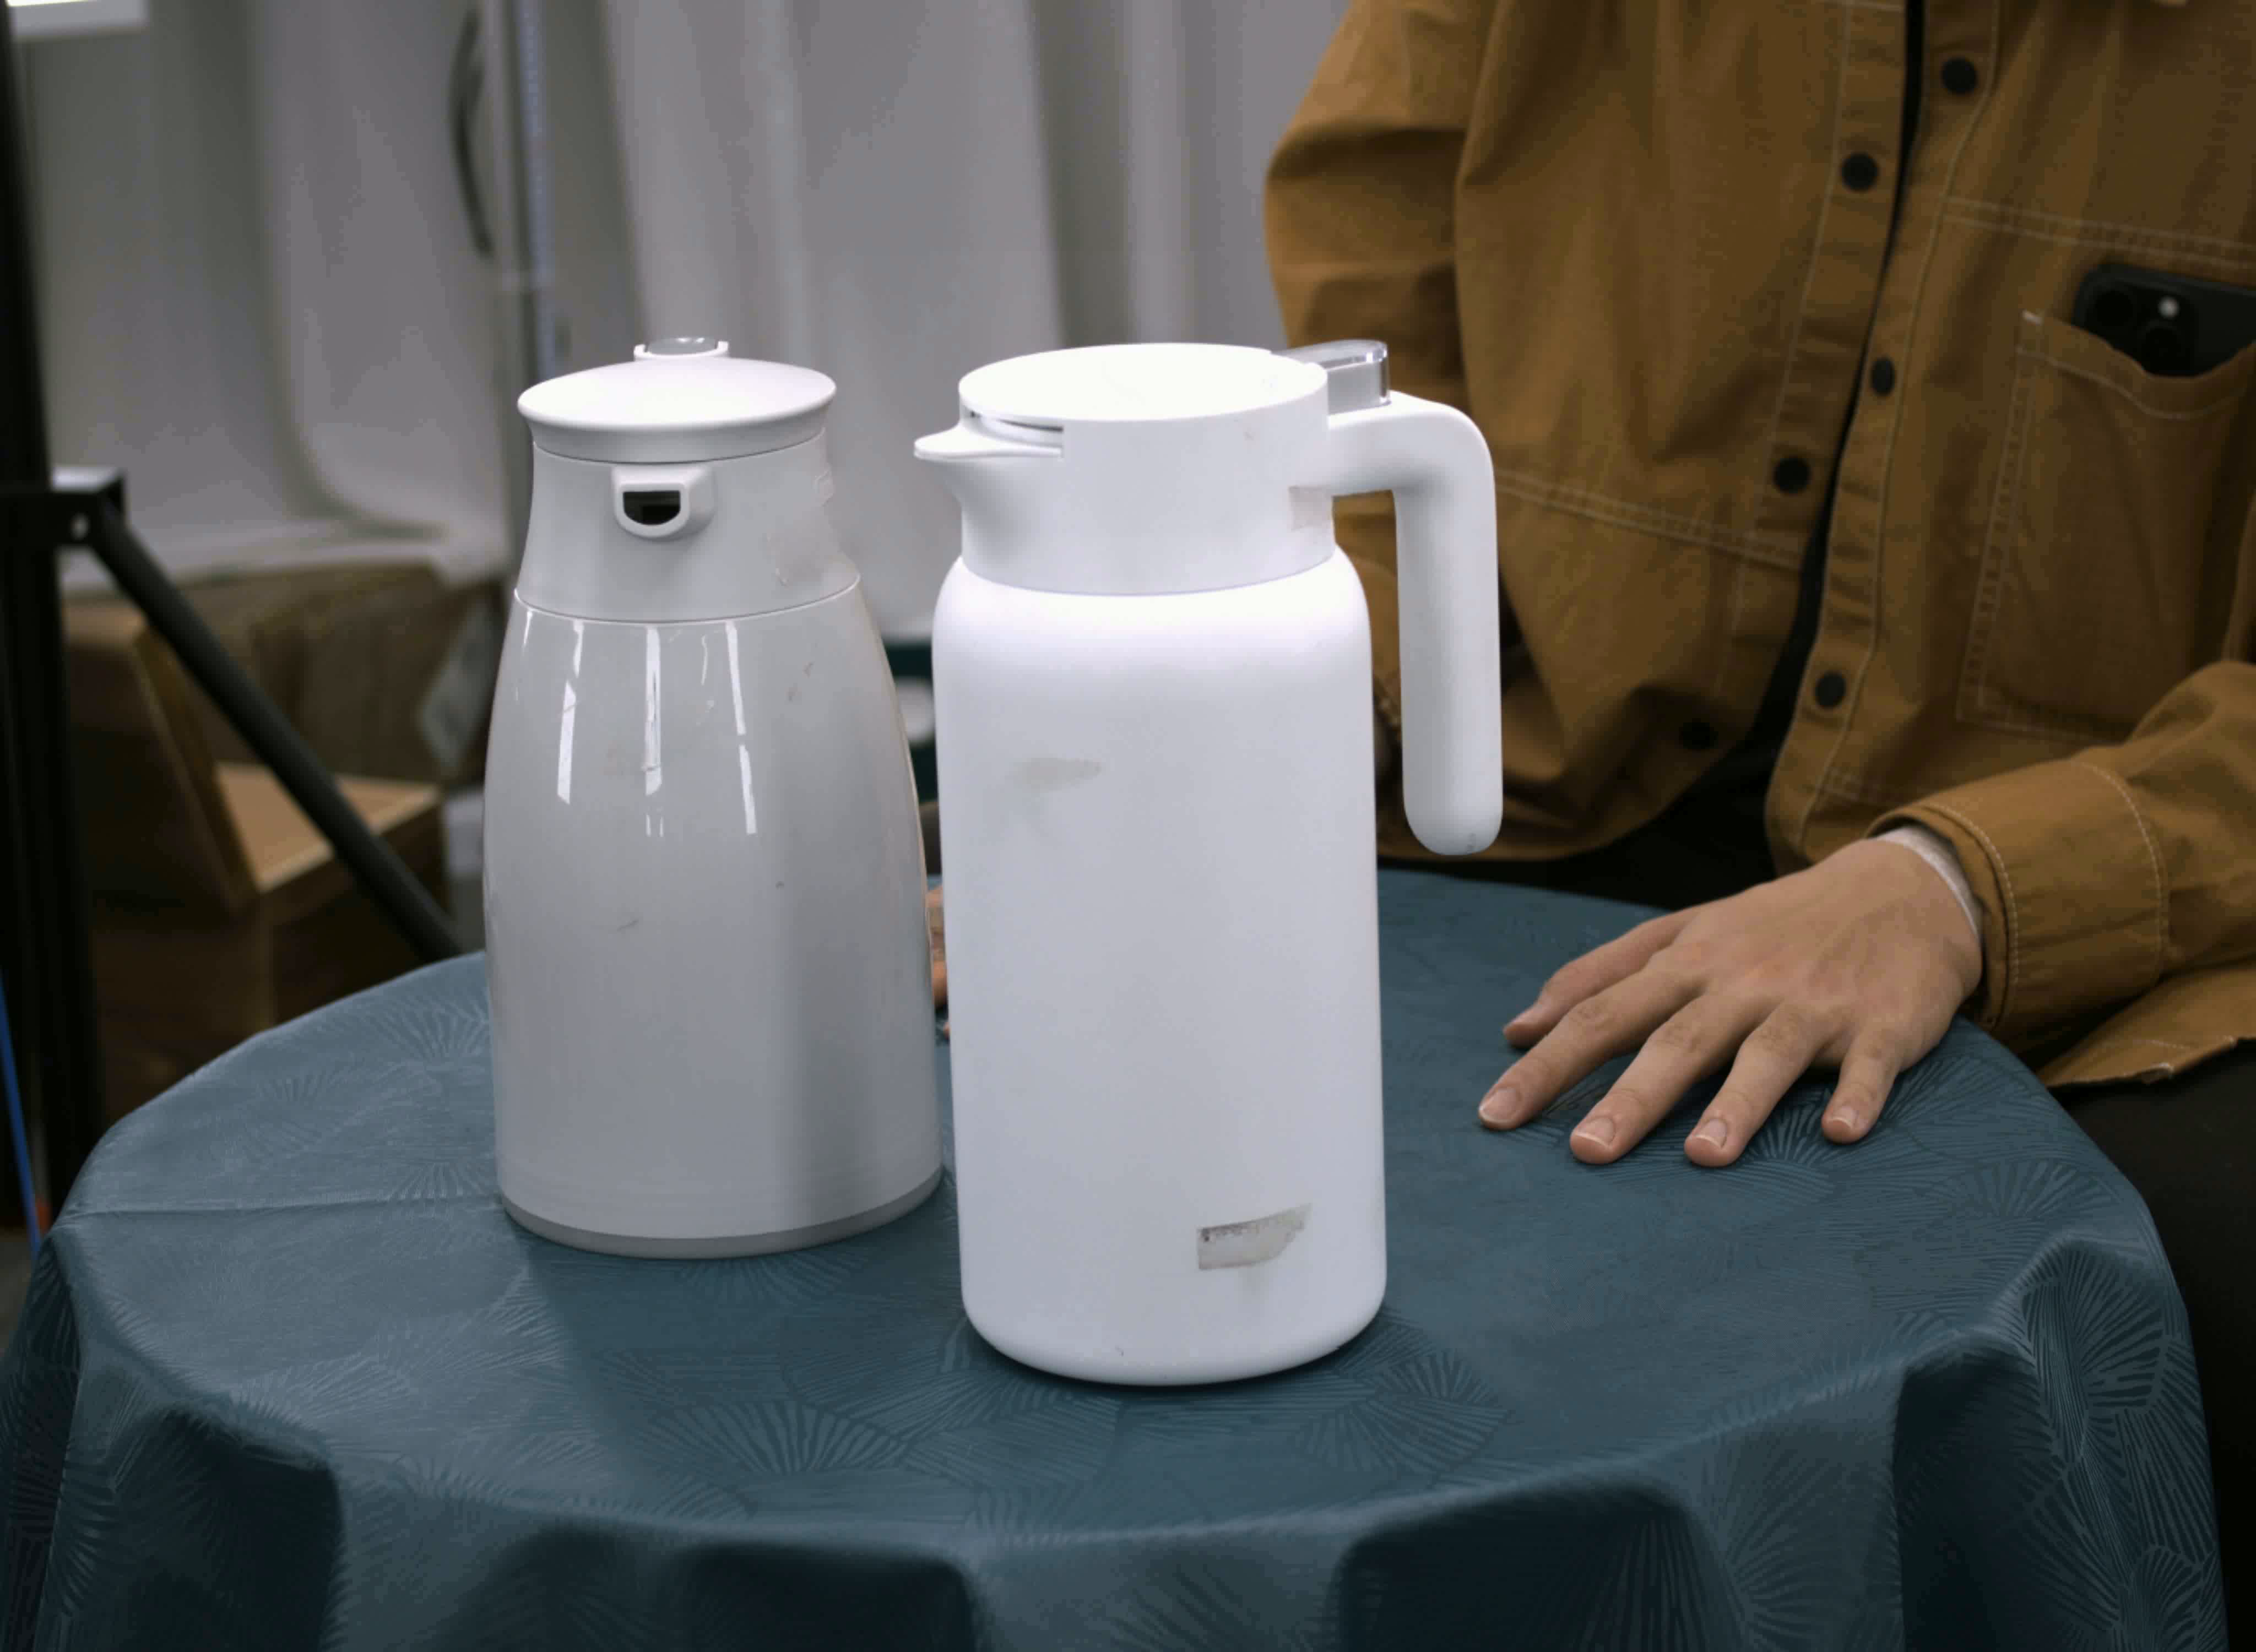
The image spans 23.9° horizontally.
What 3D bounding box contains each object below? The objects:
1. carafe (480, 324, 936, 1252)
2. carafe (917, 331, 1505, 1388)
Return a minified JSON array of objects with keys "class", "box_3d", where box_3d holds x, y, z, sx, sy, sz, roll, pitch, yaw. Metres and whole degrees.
[{"class":"carafe","box_3d":[-0.125,-0.019,1.567,0.132,0.249,0.168,-1,14,4]},{"class":"carafe","box_3d":[0.023,0.005,1.427,0.169,0.269,0.126,-11,15,-29]}]
